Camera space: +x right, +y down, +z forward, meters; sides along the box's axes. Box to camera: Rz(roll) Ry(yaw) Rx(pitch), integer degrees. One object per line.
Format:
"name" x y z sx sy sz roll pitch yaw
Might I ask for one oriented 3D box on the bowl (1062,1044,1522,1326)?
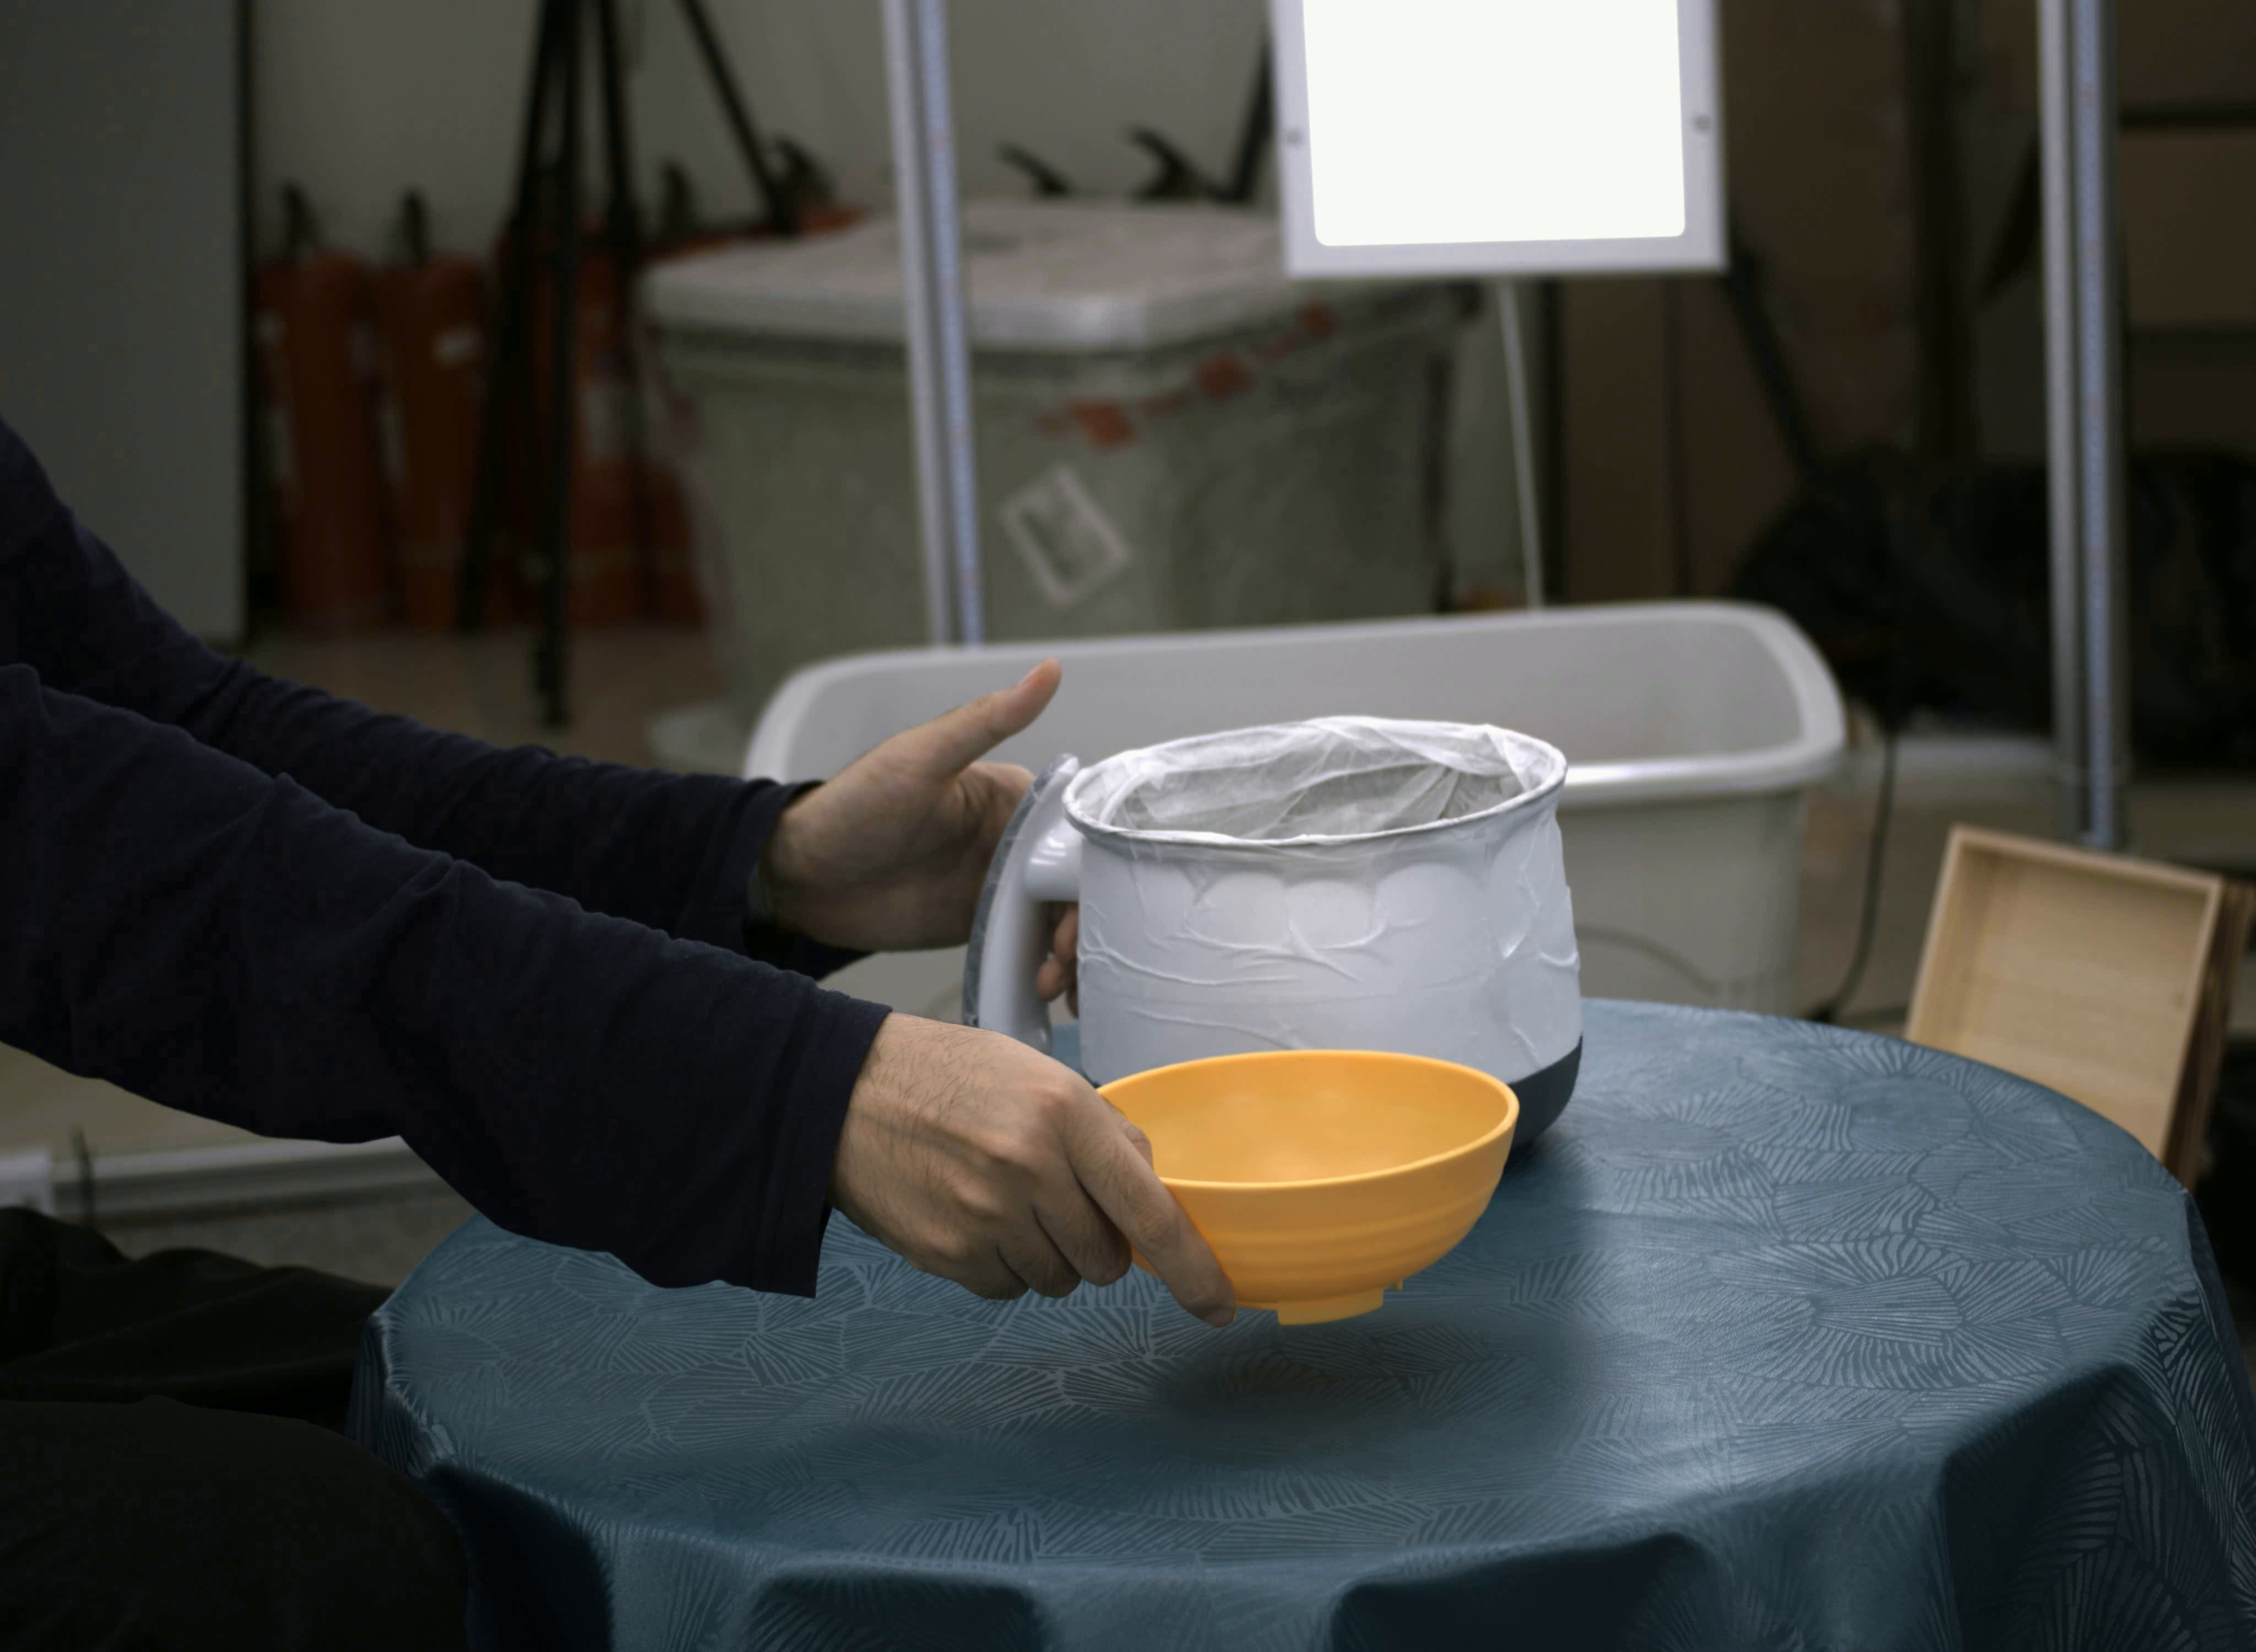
"bowl" 0.054 0.116 1.709 0.145 0.060 0.145 -7 14 0

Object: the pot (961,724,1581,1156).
"pot" 0.046 0.042 1.938 0.238 0.137 0.175 4 13 28
